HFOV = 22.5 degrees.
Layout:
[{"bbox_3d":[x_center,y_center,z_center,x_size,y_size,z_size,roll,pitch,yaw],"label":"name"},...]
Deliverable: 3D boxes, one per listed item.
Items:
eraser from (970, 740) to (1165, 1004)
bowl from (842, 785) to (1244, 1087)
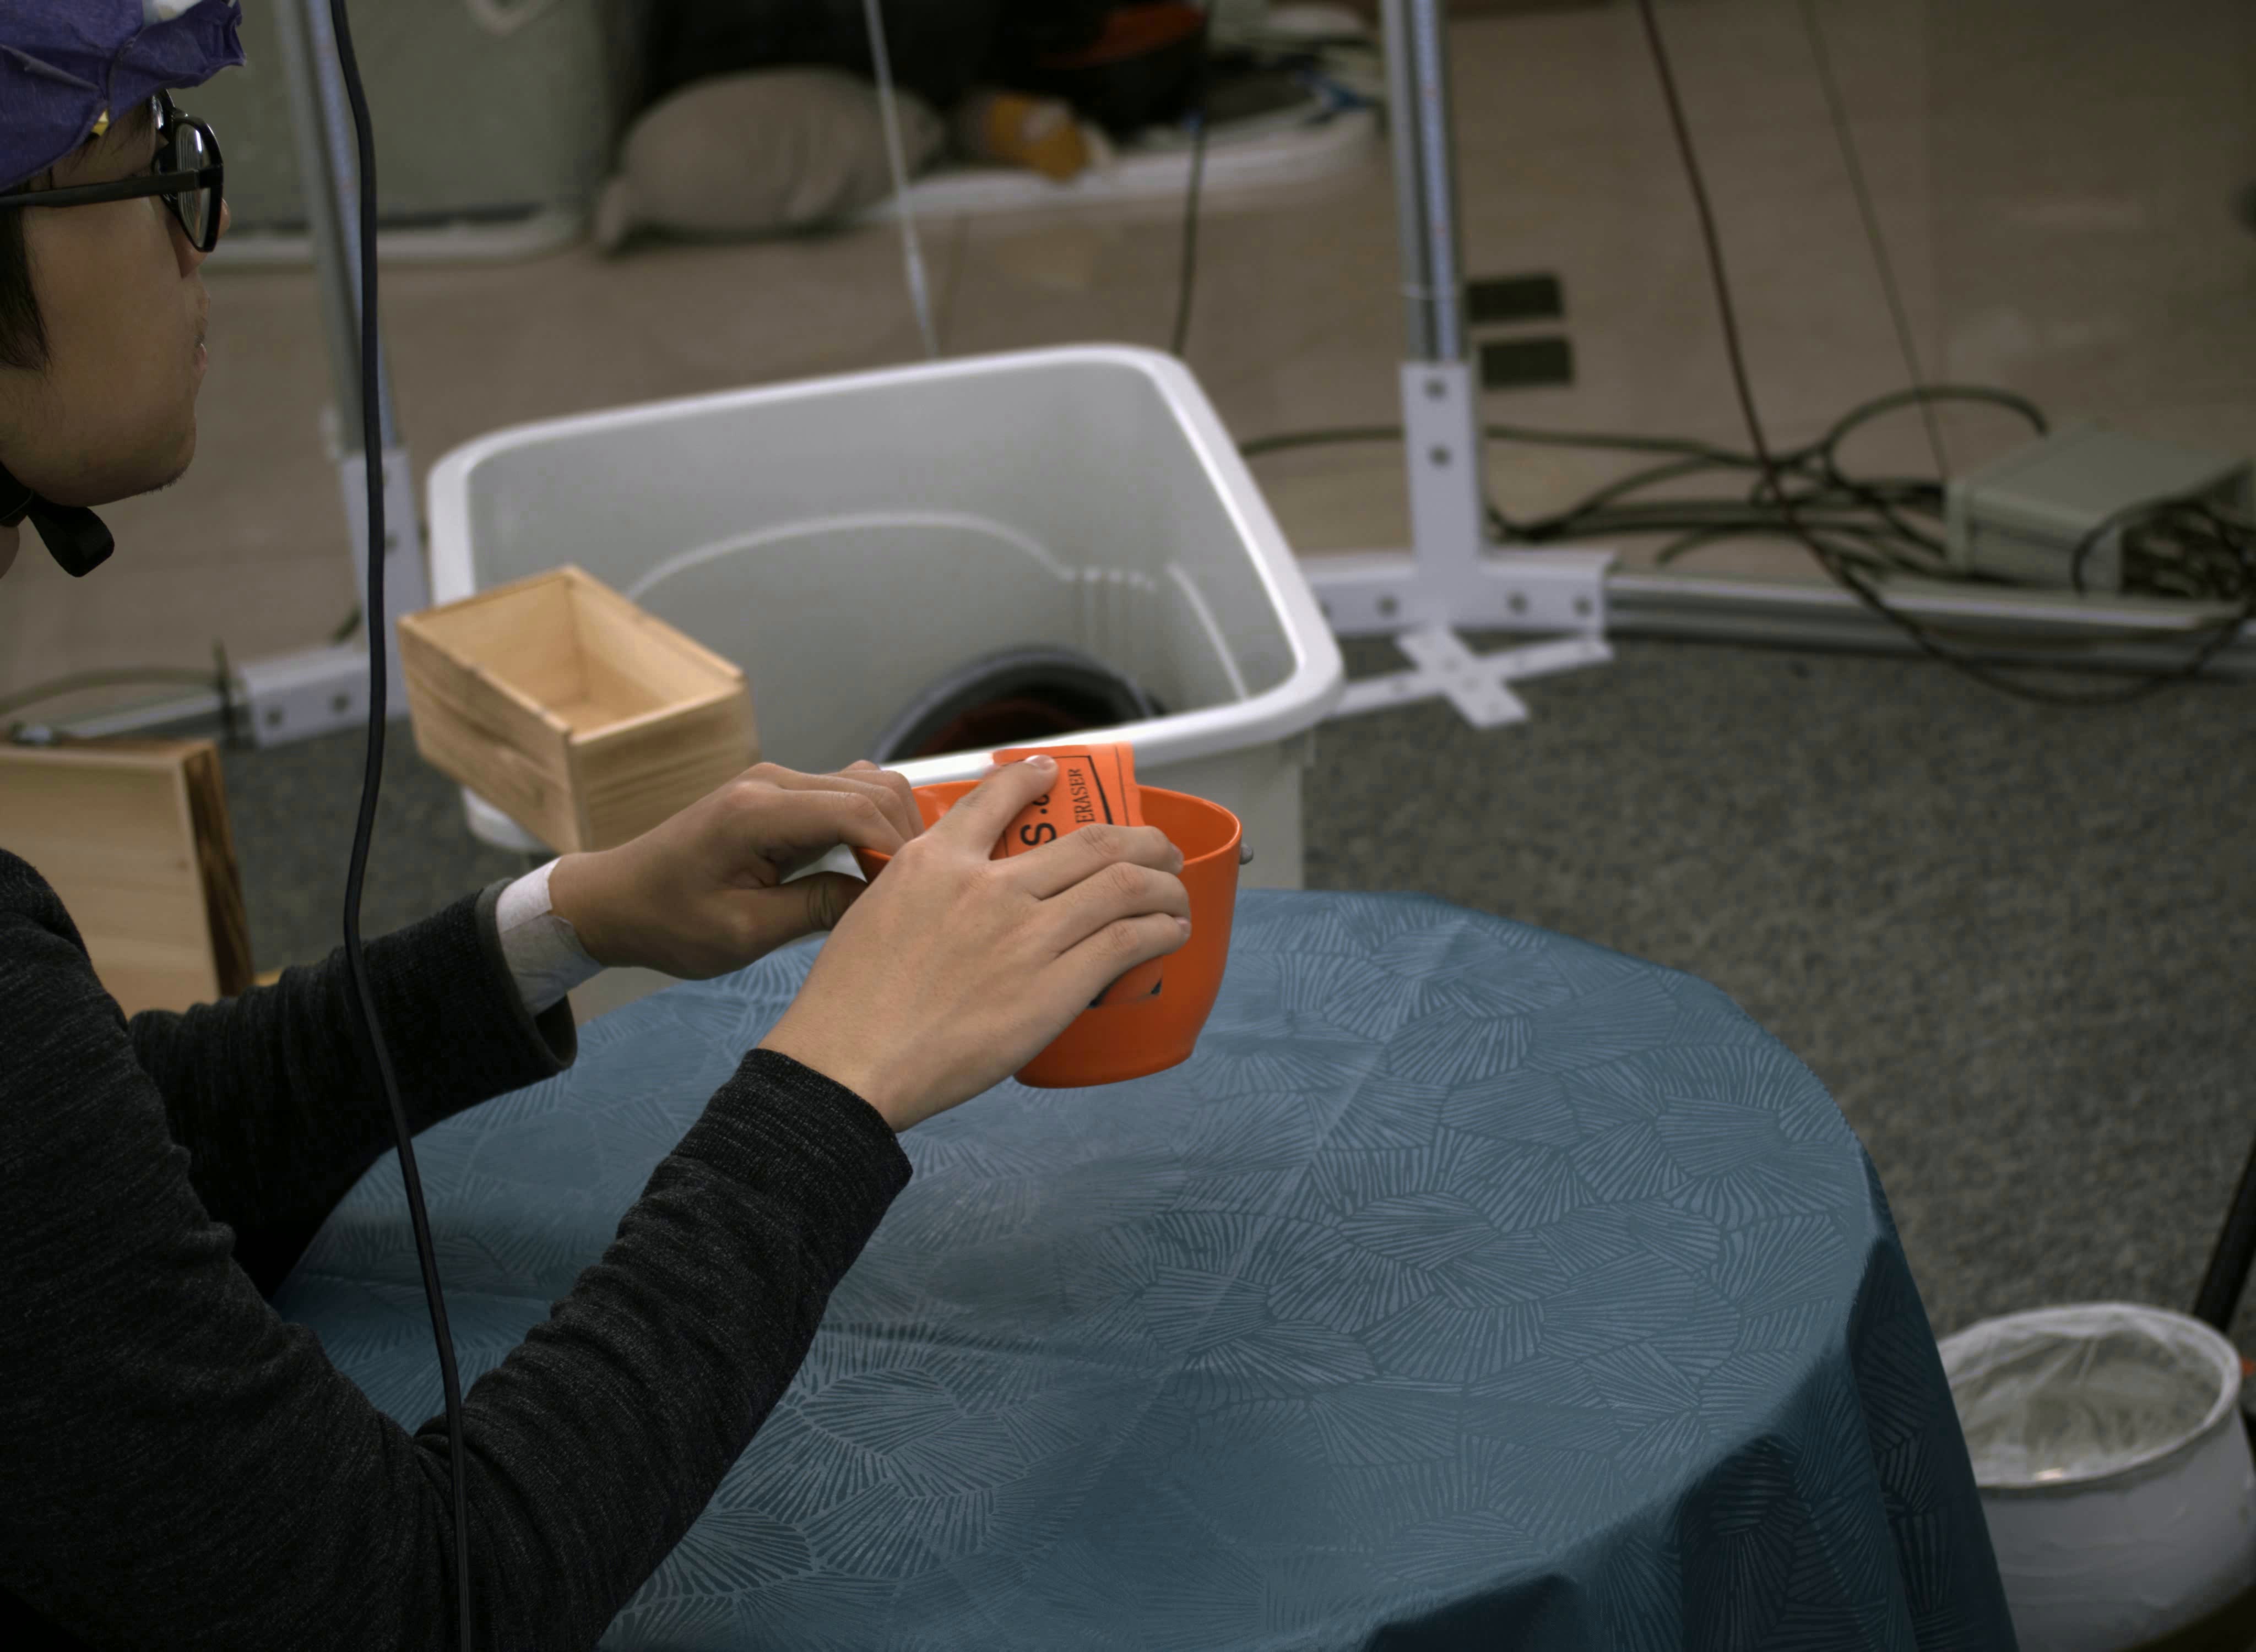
[{"bbox_3d":[-0.022,0.015,1.993,0.059,0.023,0.106,-3,47,-8],"label":"eraser"},{"bbox_3d":[-0.024,0.039,2.091,0.148,0.105,0.147,-10,9,2],"label":"bowl"}]
